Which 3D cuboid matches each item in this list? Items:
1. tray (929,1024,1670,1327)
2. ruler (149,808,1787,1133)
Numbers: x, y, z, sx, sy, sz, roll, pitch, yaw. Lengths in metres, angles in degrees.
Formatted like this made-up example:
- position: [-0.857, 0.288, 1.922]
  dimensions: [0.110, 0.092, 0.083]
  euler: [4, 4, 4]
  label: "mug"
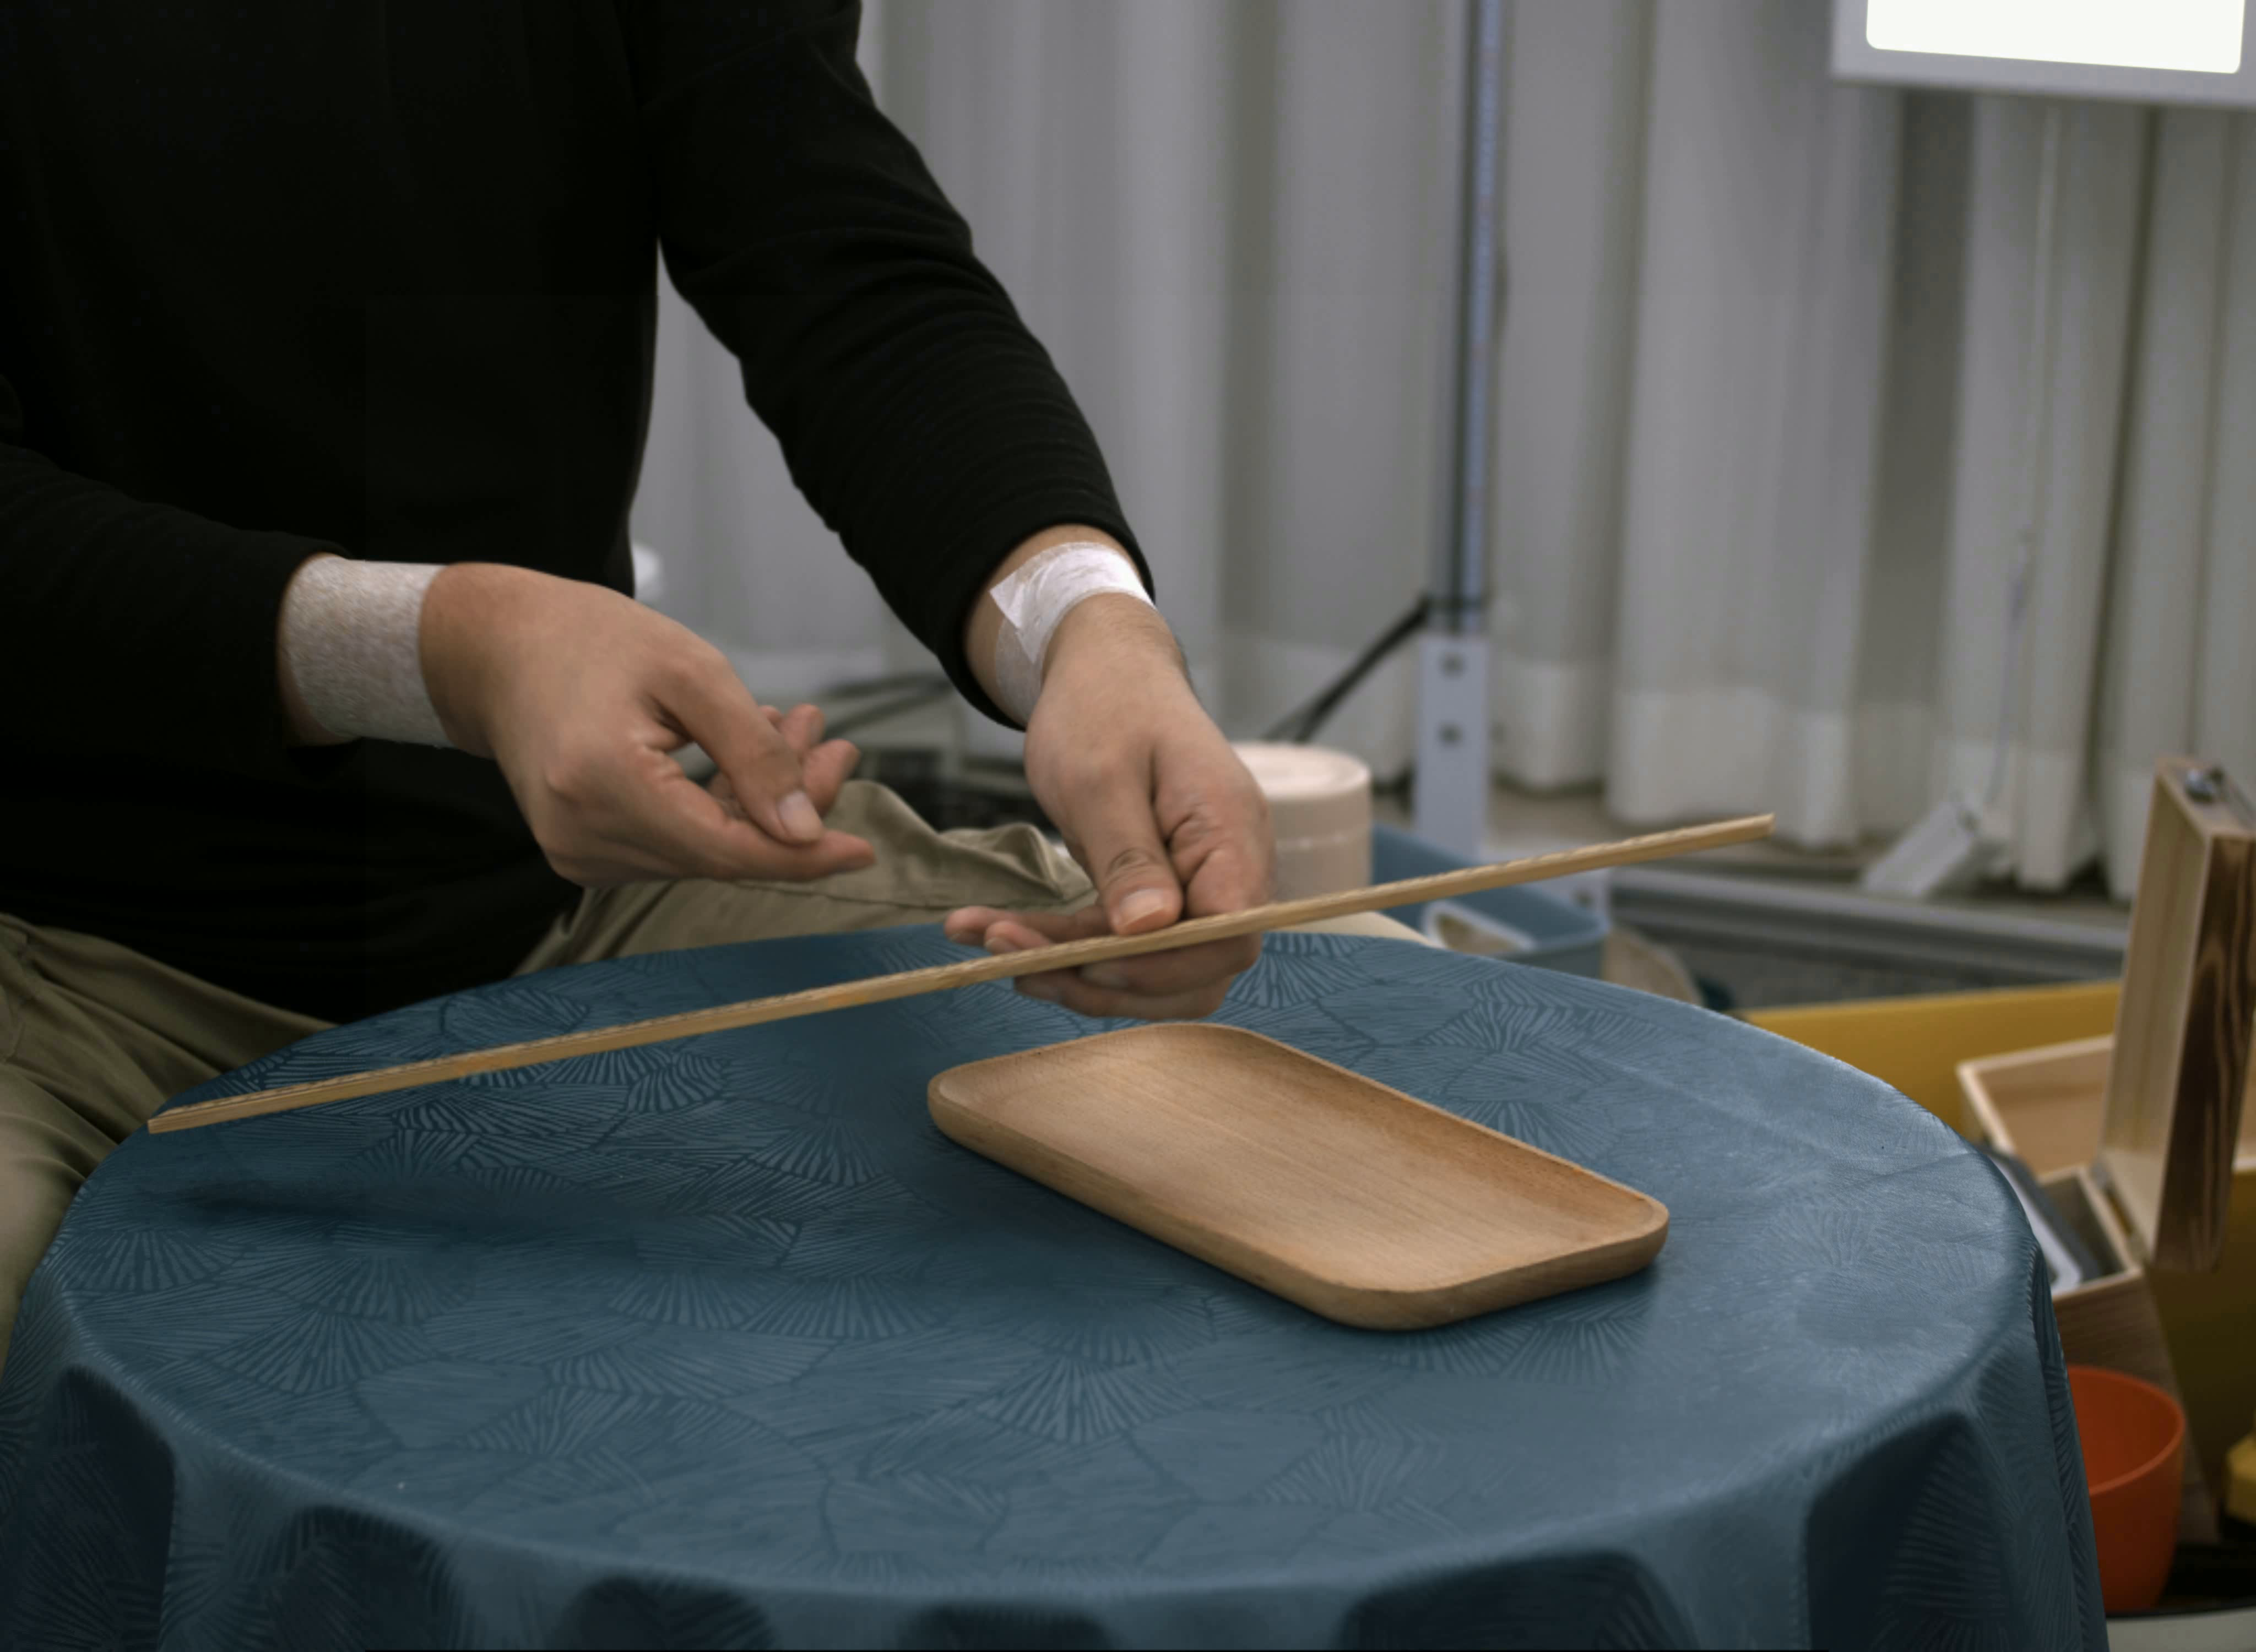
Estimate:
- position: [0.049, 0.105, 1.620]
  dimensions: [0.131, 0.023, 0.247]
  euler: [-8, 16, -34]
  label: "tray"
- position: [-0.052, 0.043, 1.557]
  dimensions: [0.498, 0.006, 0.027]
  euler: [-11, 3, 9]
  label: "ruler"
